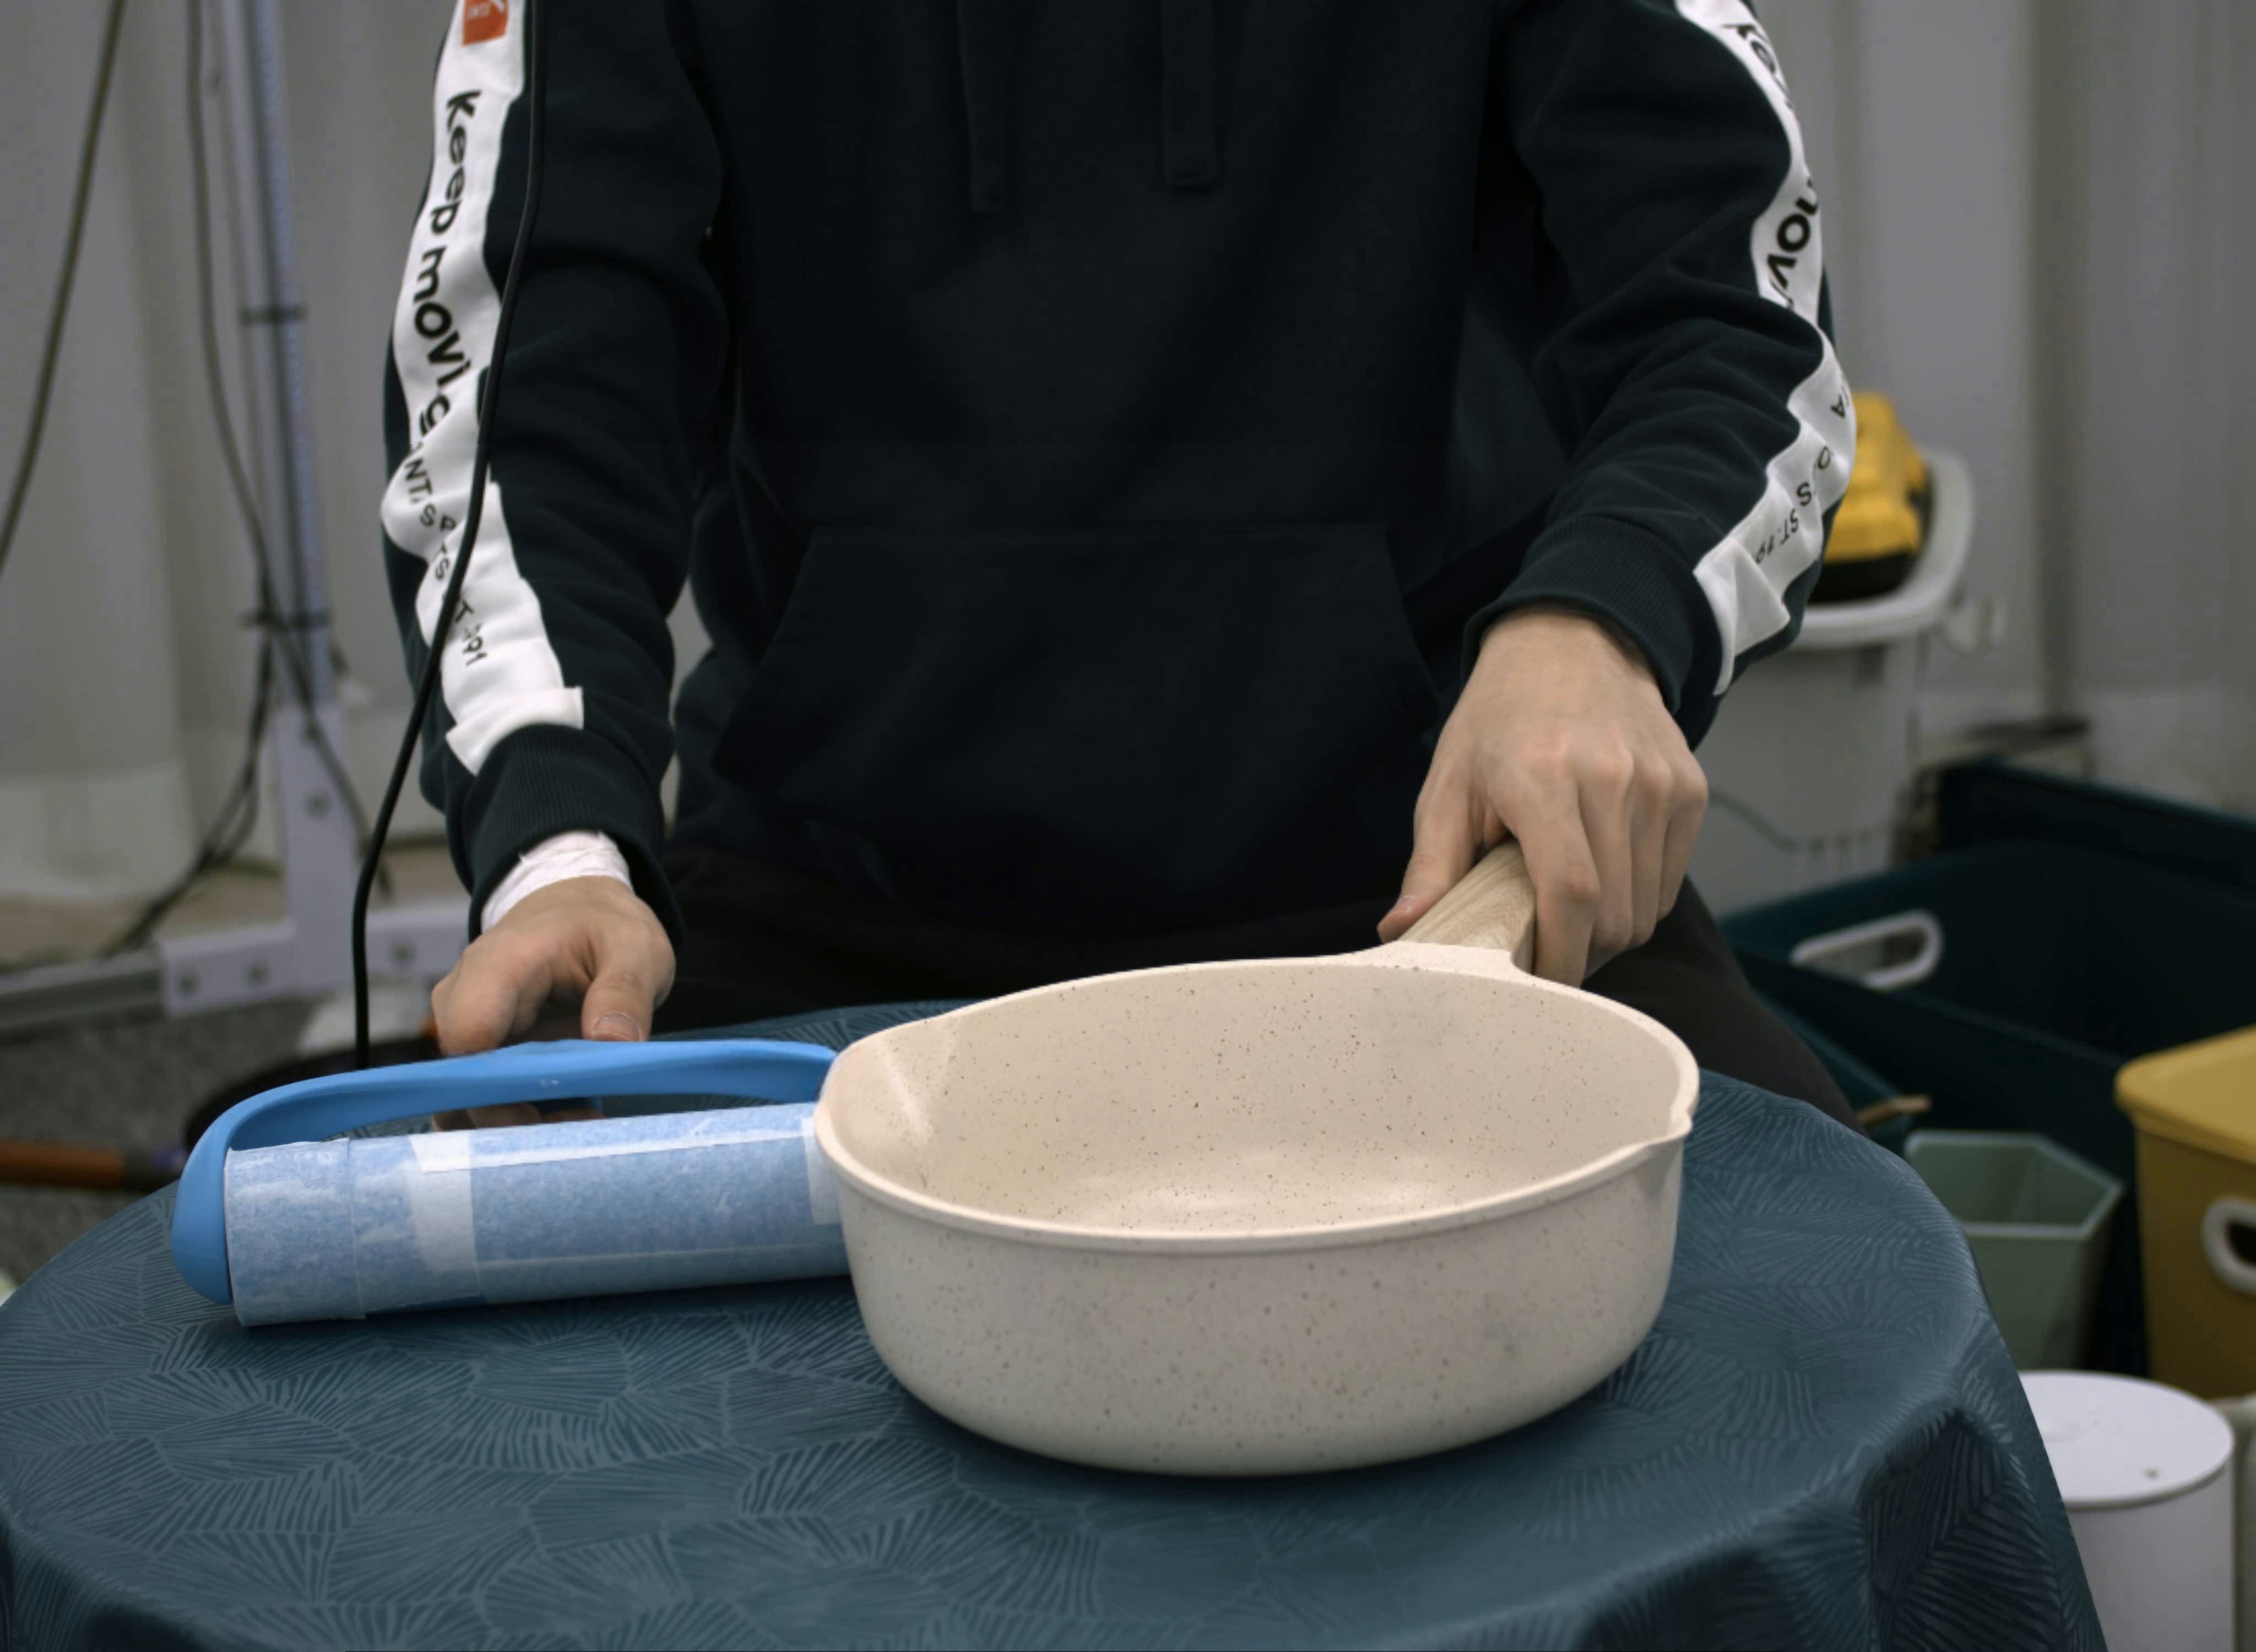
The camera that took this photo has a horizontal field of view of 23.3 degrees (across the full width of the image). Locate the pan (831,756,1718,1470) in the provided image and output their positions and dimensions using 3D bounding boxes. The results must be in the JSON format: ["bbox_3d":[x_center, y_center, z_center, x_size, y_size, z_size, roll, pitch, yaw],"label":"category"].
[{"bbox_3d":[0.081,0.081,1.632,0.264,0.101,0.436,3,16,25],"label":"pan"}]

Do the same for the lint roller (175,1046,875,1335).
[{"bbox_3d":[-0.179,0.100,1.696,0.228,0.067,0.182,-7,16,-7],"label":"lint roller"}]
